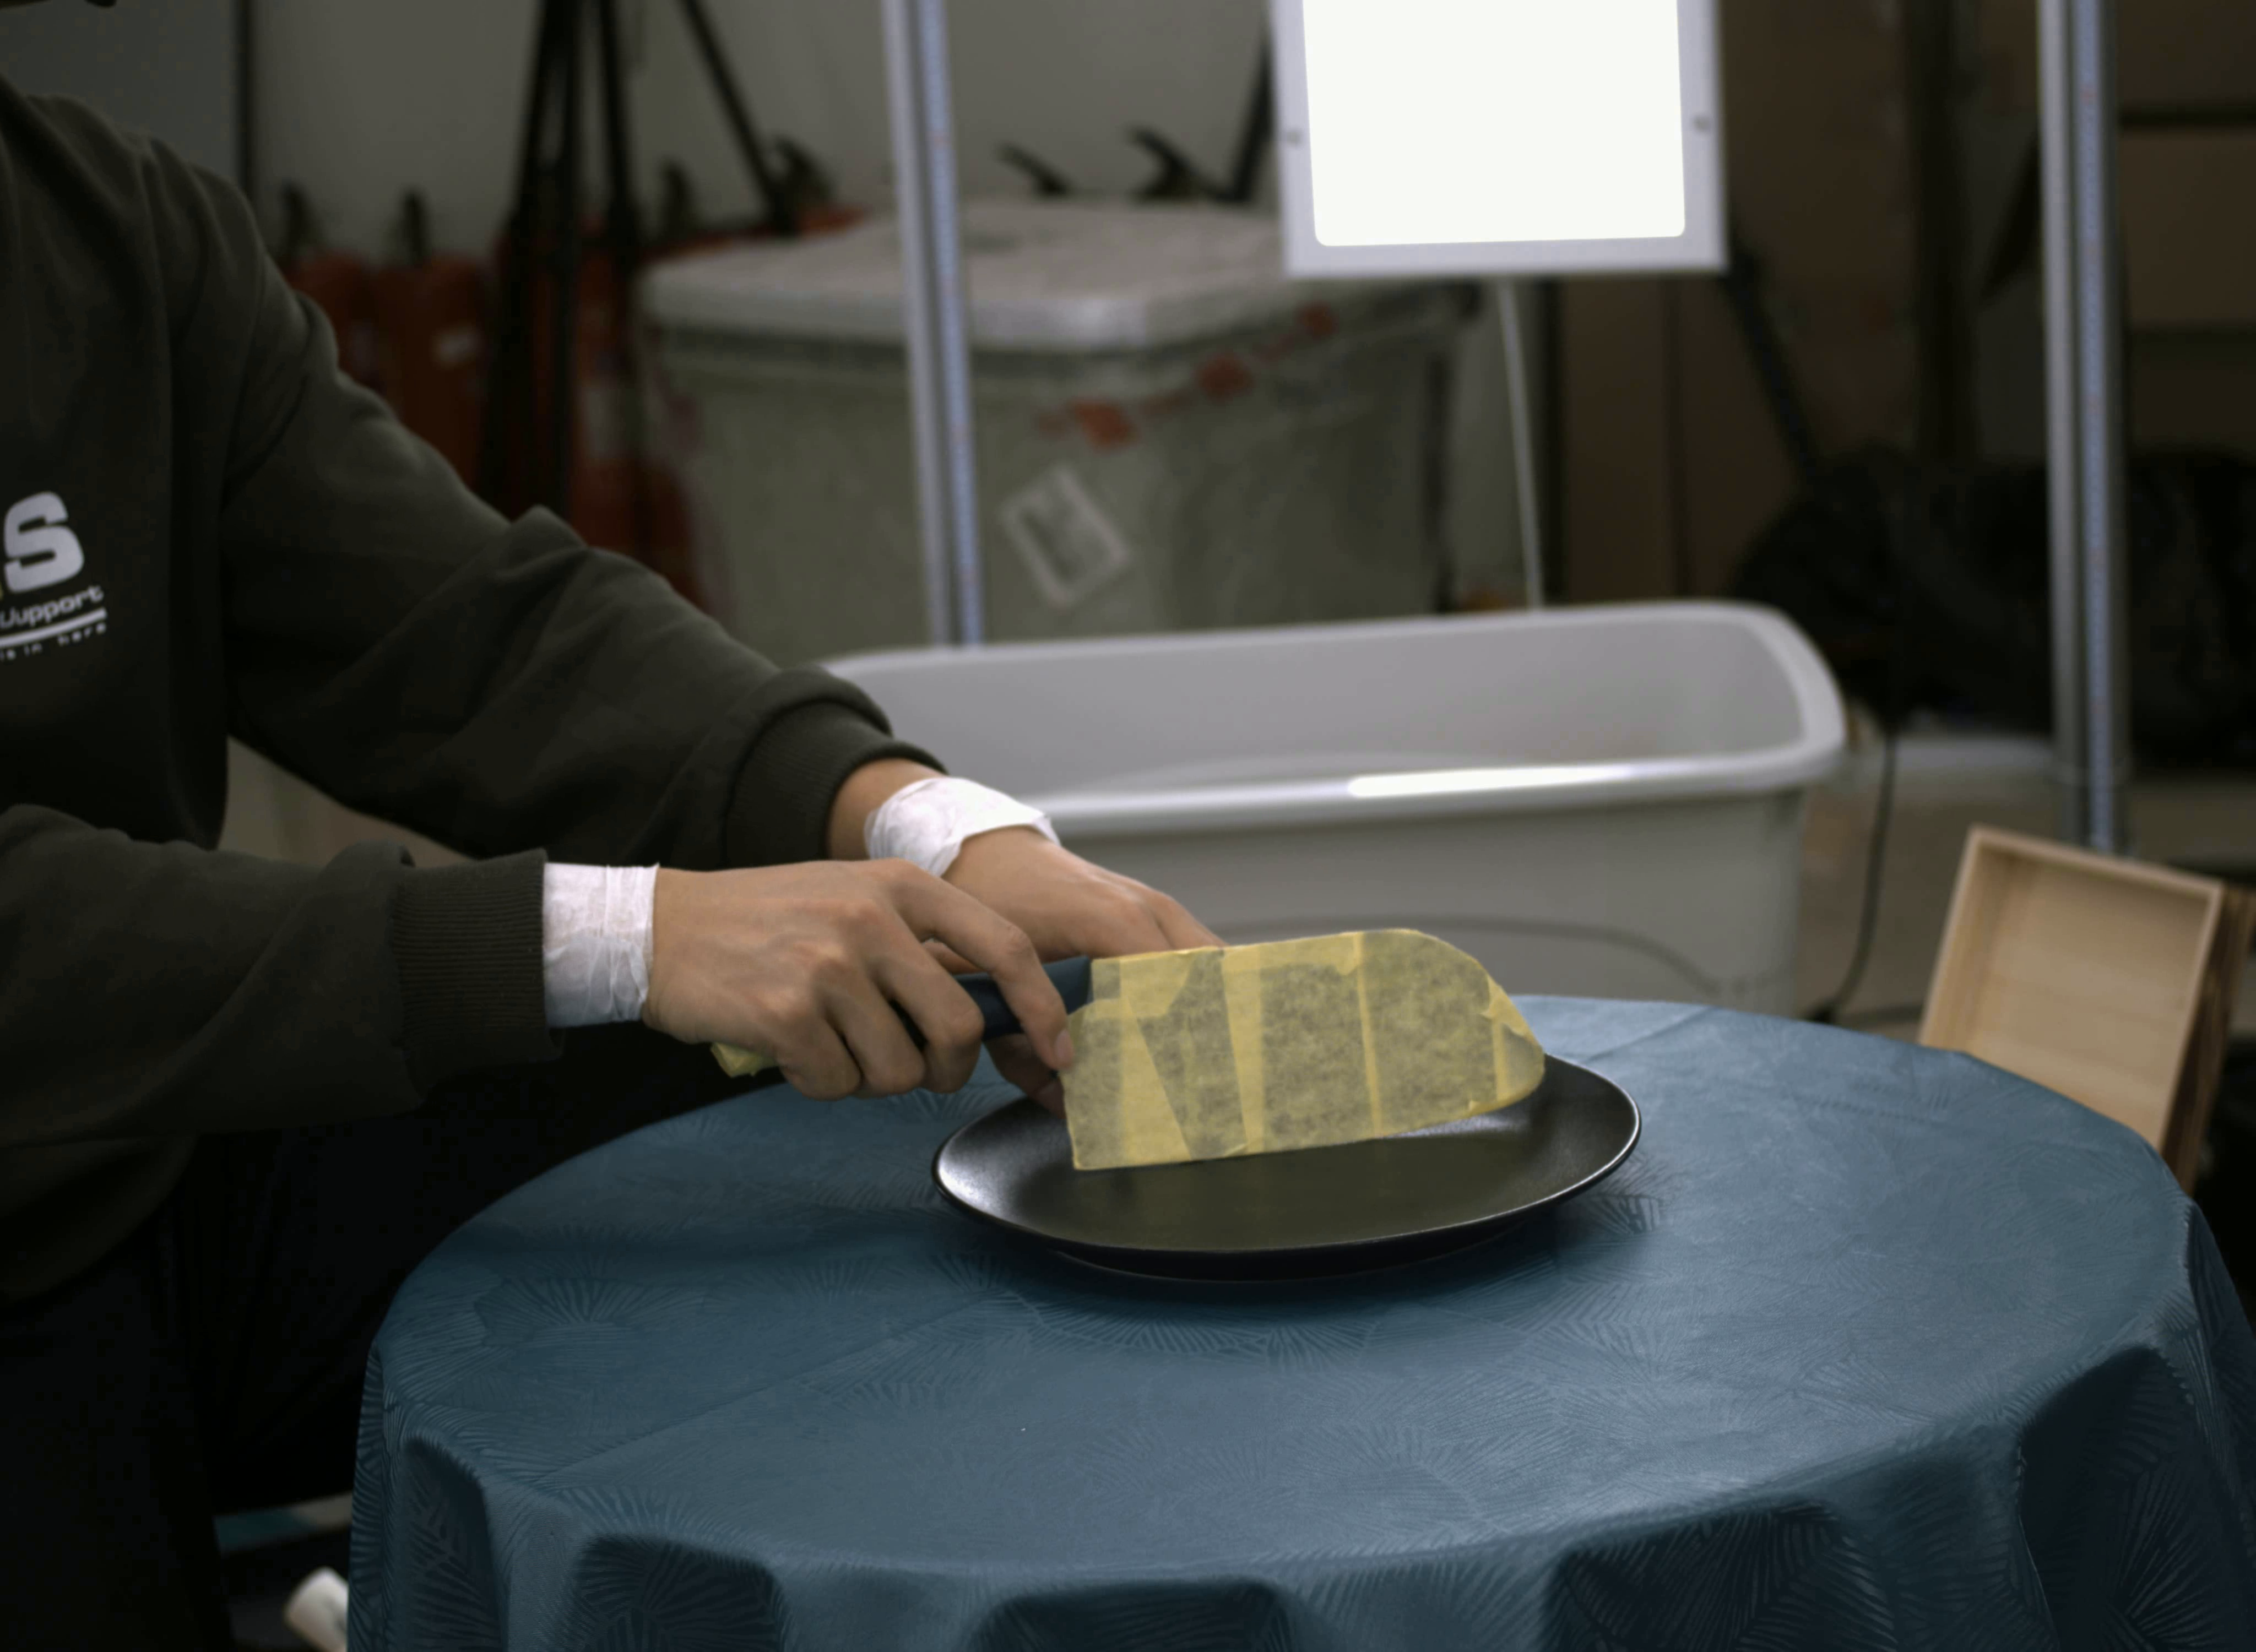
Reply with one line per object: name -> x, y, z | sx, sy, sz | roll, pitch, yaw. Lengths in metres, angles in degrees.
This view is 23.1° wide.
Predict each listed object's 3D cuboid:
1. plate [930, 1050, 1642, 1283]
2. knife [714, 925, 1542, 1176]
plate -> 0.055, 0.116, 1.876 | 0.244, 0.023, 0.244 | -5, 14, 0
knife -> 0.002, 0.080, 1.904 | 0.288, 0.081, 0.027 | -4, -7, -3
